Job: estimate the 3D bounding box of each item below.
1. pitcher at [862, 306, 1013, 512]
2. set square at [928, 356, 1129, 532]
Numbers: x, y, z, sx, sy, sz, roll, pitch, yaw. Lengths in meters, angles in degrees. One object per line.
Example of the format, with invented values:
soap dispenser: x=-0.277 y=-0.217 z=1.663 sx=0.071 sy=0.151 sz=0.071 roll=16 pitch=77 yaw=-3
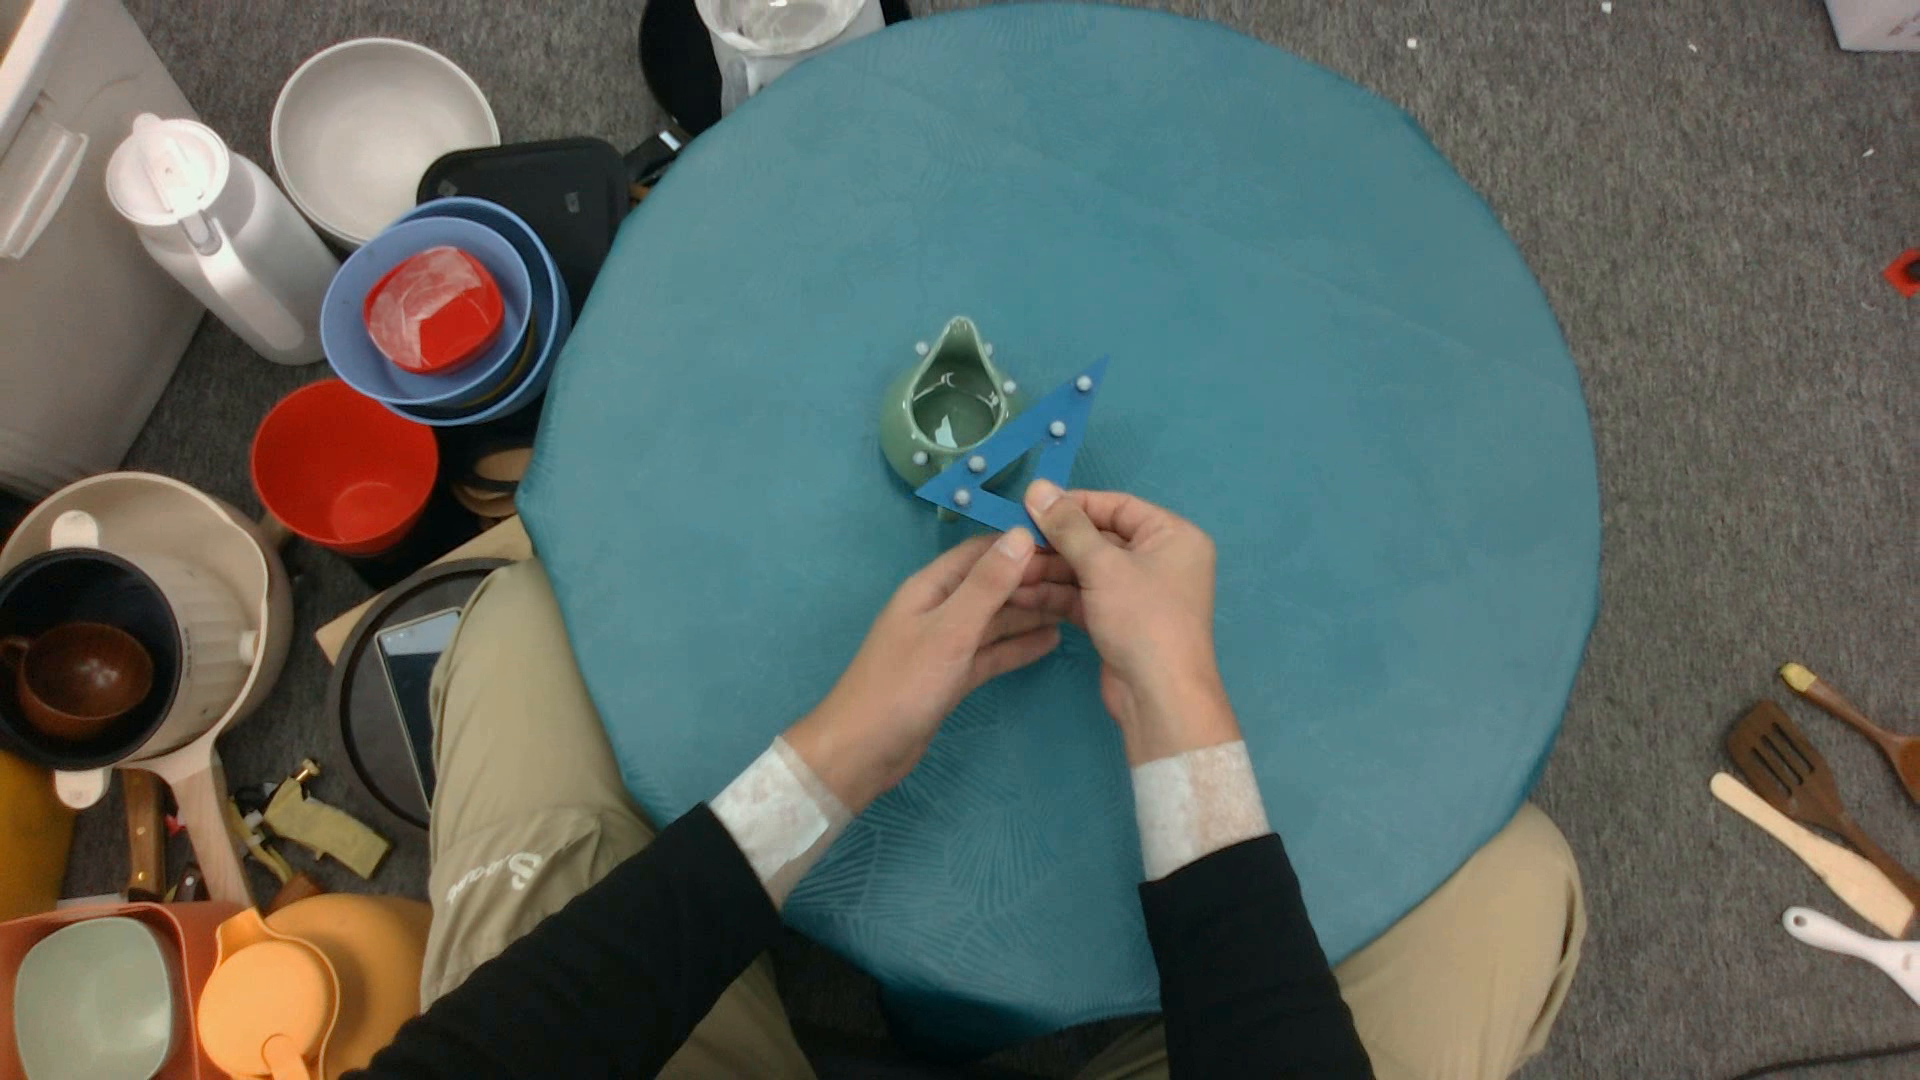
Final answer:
pitcher: x=-0.013 y=-0.066 z=0.755 sx=0.084 sy=0.056 sz=0.113 roll=1 pitch=74 yaw=0
set square: x=0.051 y=-0.047 z=0.709 sx=0.132 sy=0.006 sz=0.061 roll=-34 pitch=79 yaw=-23
